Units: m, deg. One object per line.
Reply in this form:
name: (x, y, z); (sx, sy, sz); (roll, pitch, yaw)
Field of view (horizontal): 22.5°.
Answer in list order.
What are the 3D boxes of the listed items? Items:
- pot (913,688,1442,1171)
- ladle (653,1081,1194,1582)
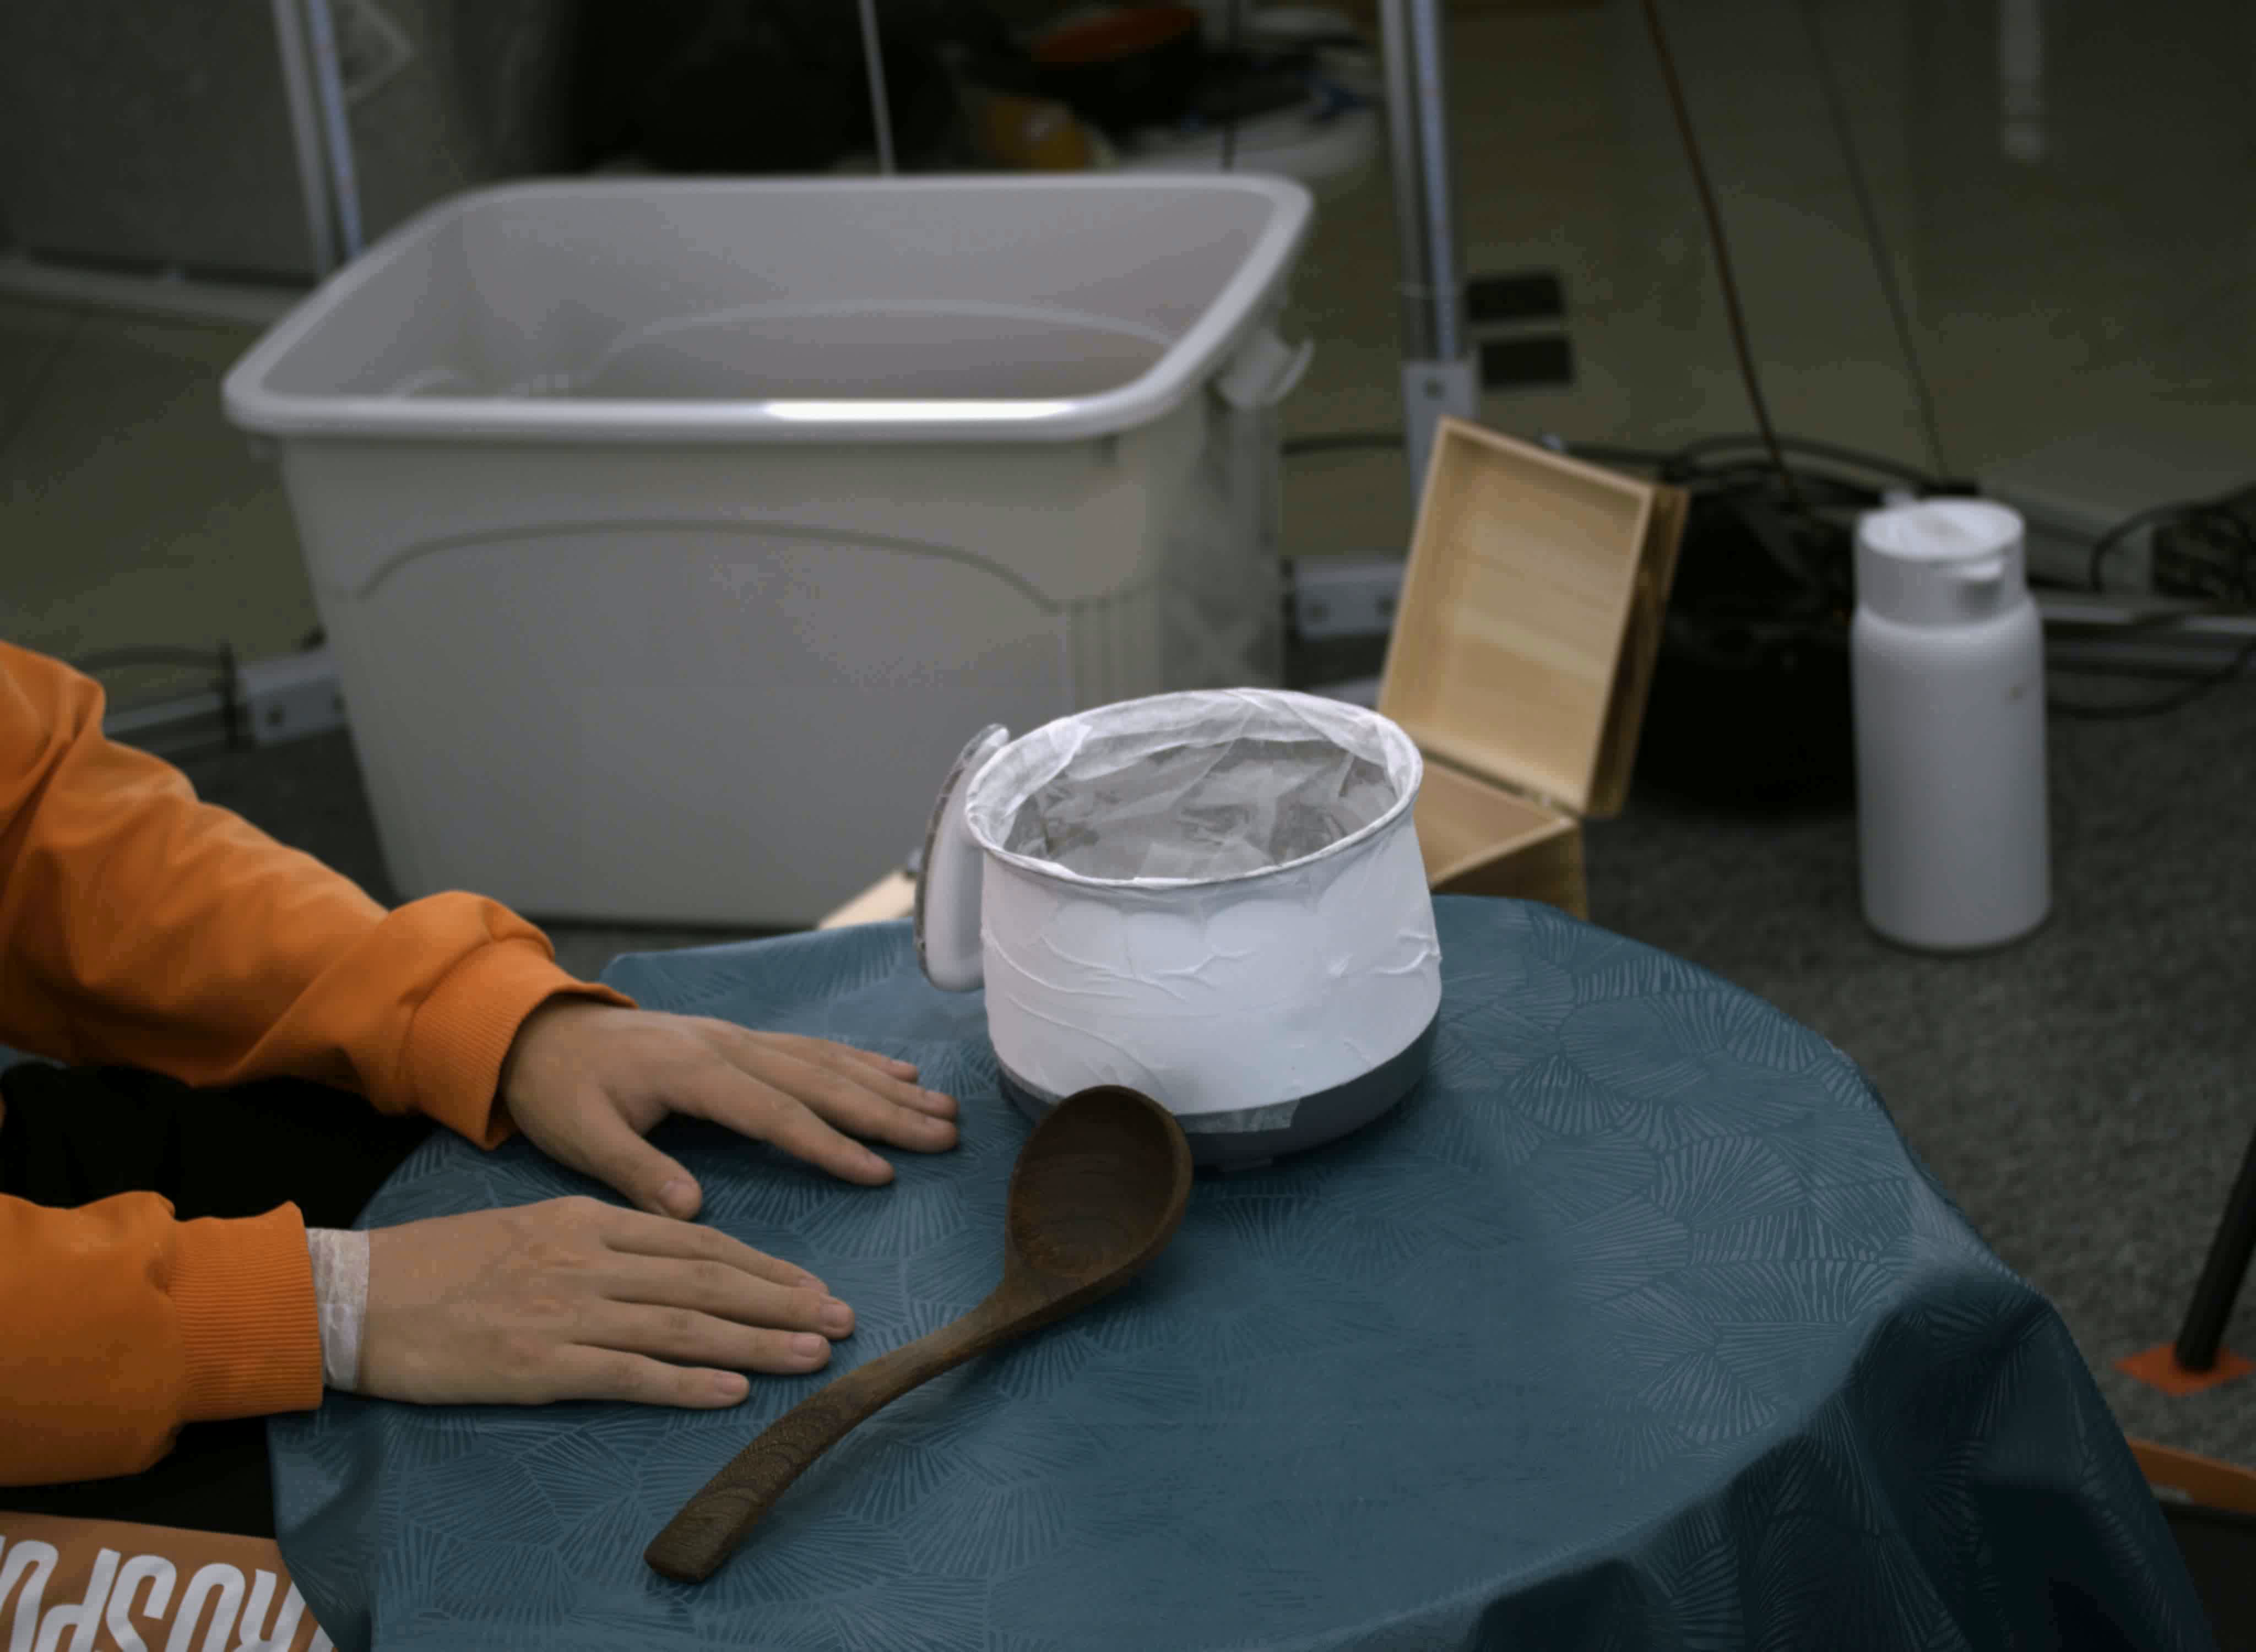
pot: (0.009, 0.036, 2.201); (0.232, 0.139, 0.177); (13, 31, 35)
ladle: (-0.075, 0.173, 2.008); (0.075, 0.072, 0.271); (10, 29, 39)
